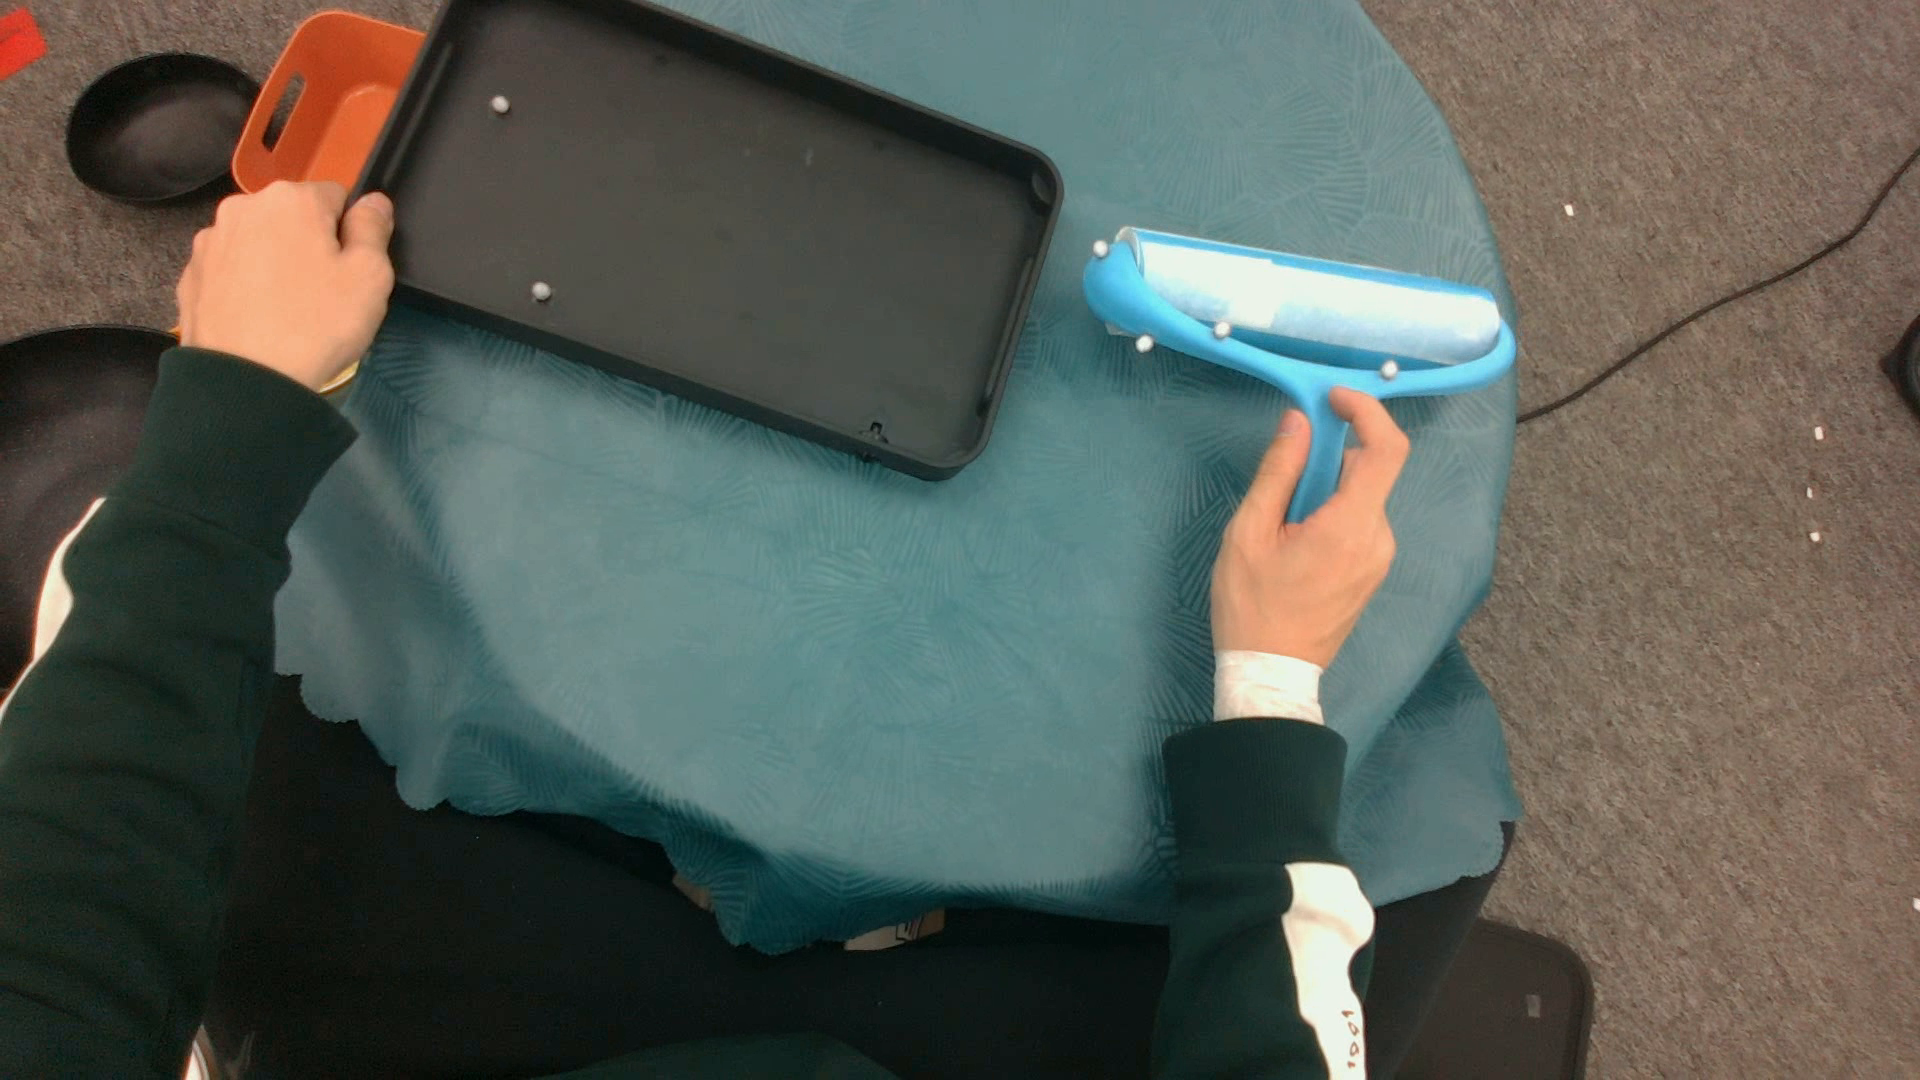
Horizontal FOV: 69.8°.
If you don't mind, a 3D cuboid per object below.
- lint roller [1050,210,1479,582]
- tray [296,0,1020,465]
[{"bbox_3d":[0.159,-0.073,0.685,0.229,0.067,0.181,3,71,-16],"label":"lint roller"},{"bbox_3d":[-0.139,-0.161,0.685,0.318,0.037,0.185,16,74,-9],"label":"tray"}]
